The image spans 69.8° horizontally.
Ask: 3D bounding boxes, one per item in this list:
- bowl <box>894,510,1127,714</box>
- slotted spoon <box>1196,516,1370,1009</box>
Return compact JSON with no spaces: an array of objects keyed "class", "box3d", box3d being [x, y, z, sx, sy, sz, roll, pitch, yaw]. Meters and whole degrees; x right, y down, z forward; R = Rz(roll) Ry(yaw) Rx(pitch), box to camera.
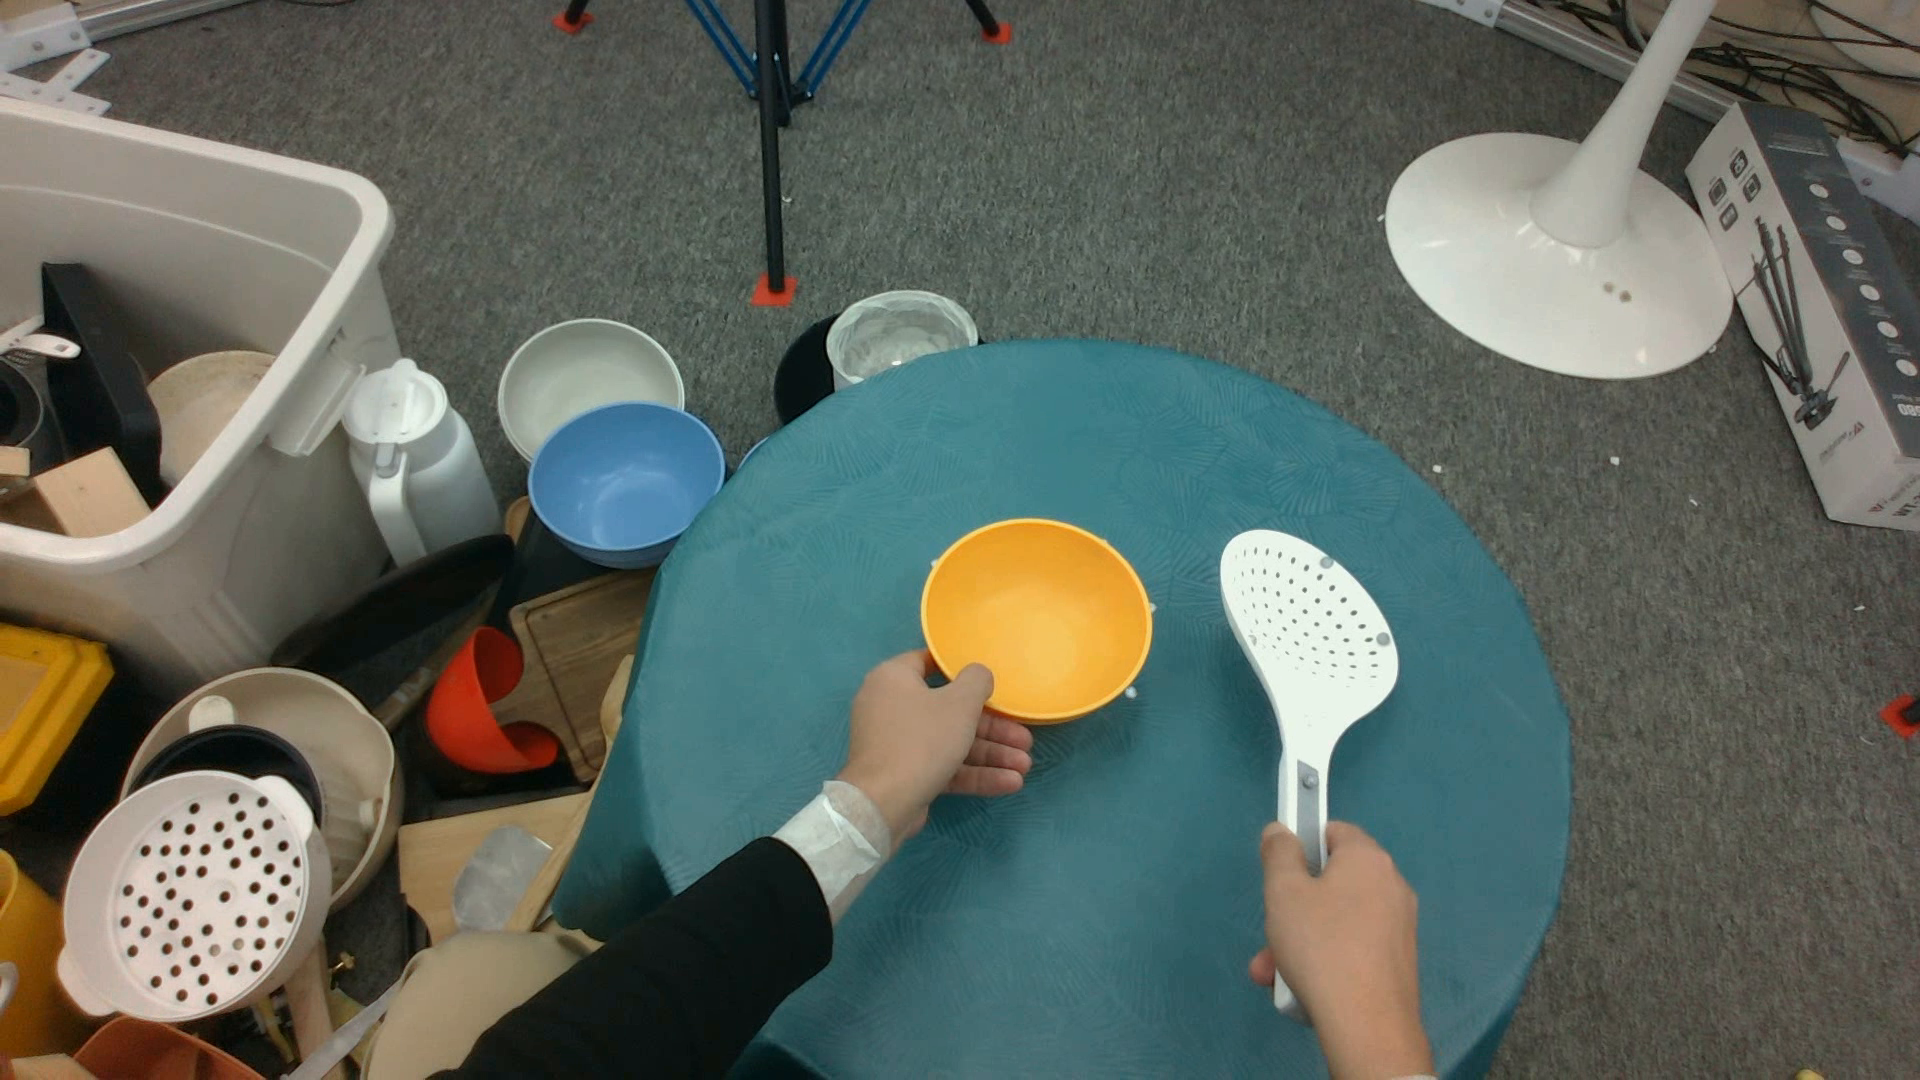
[{"class":"bowl","box3d":[0.030,0.055,0.873,0.145,0.060,0.146,2,55,-3]},{"class":"slotted spoon","box3d":[0.186,0.114,0.809,0.136,0.045,0.351,29,36,-12]}]
